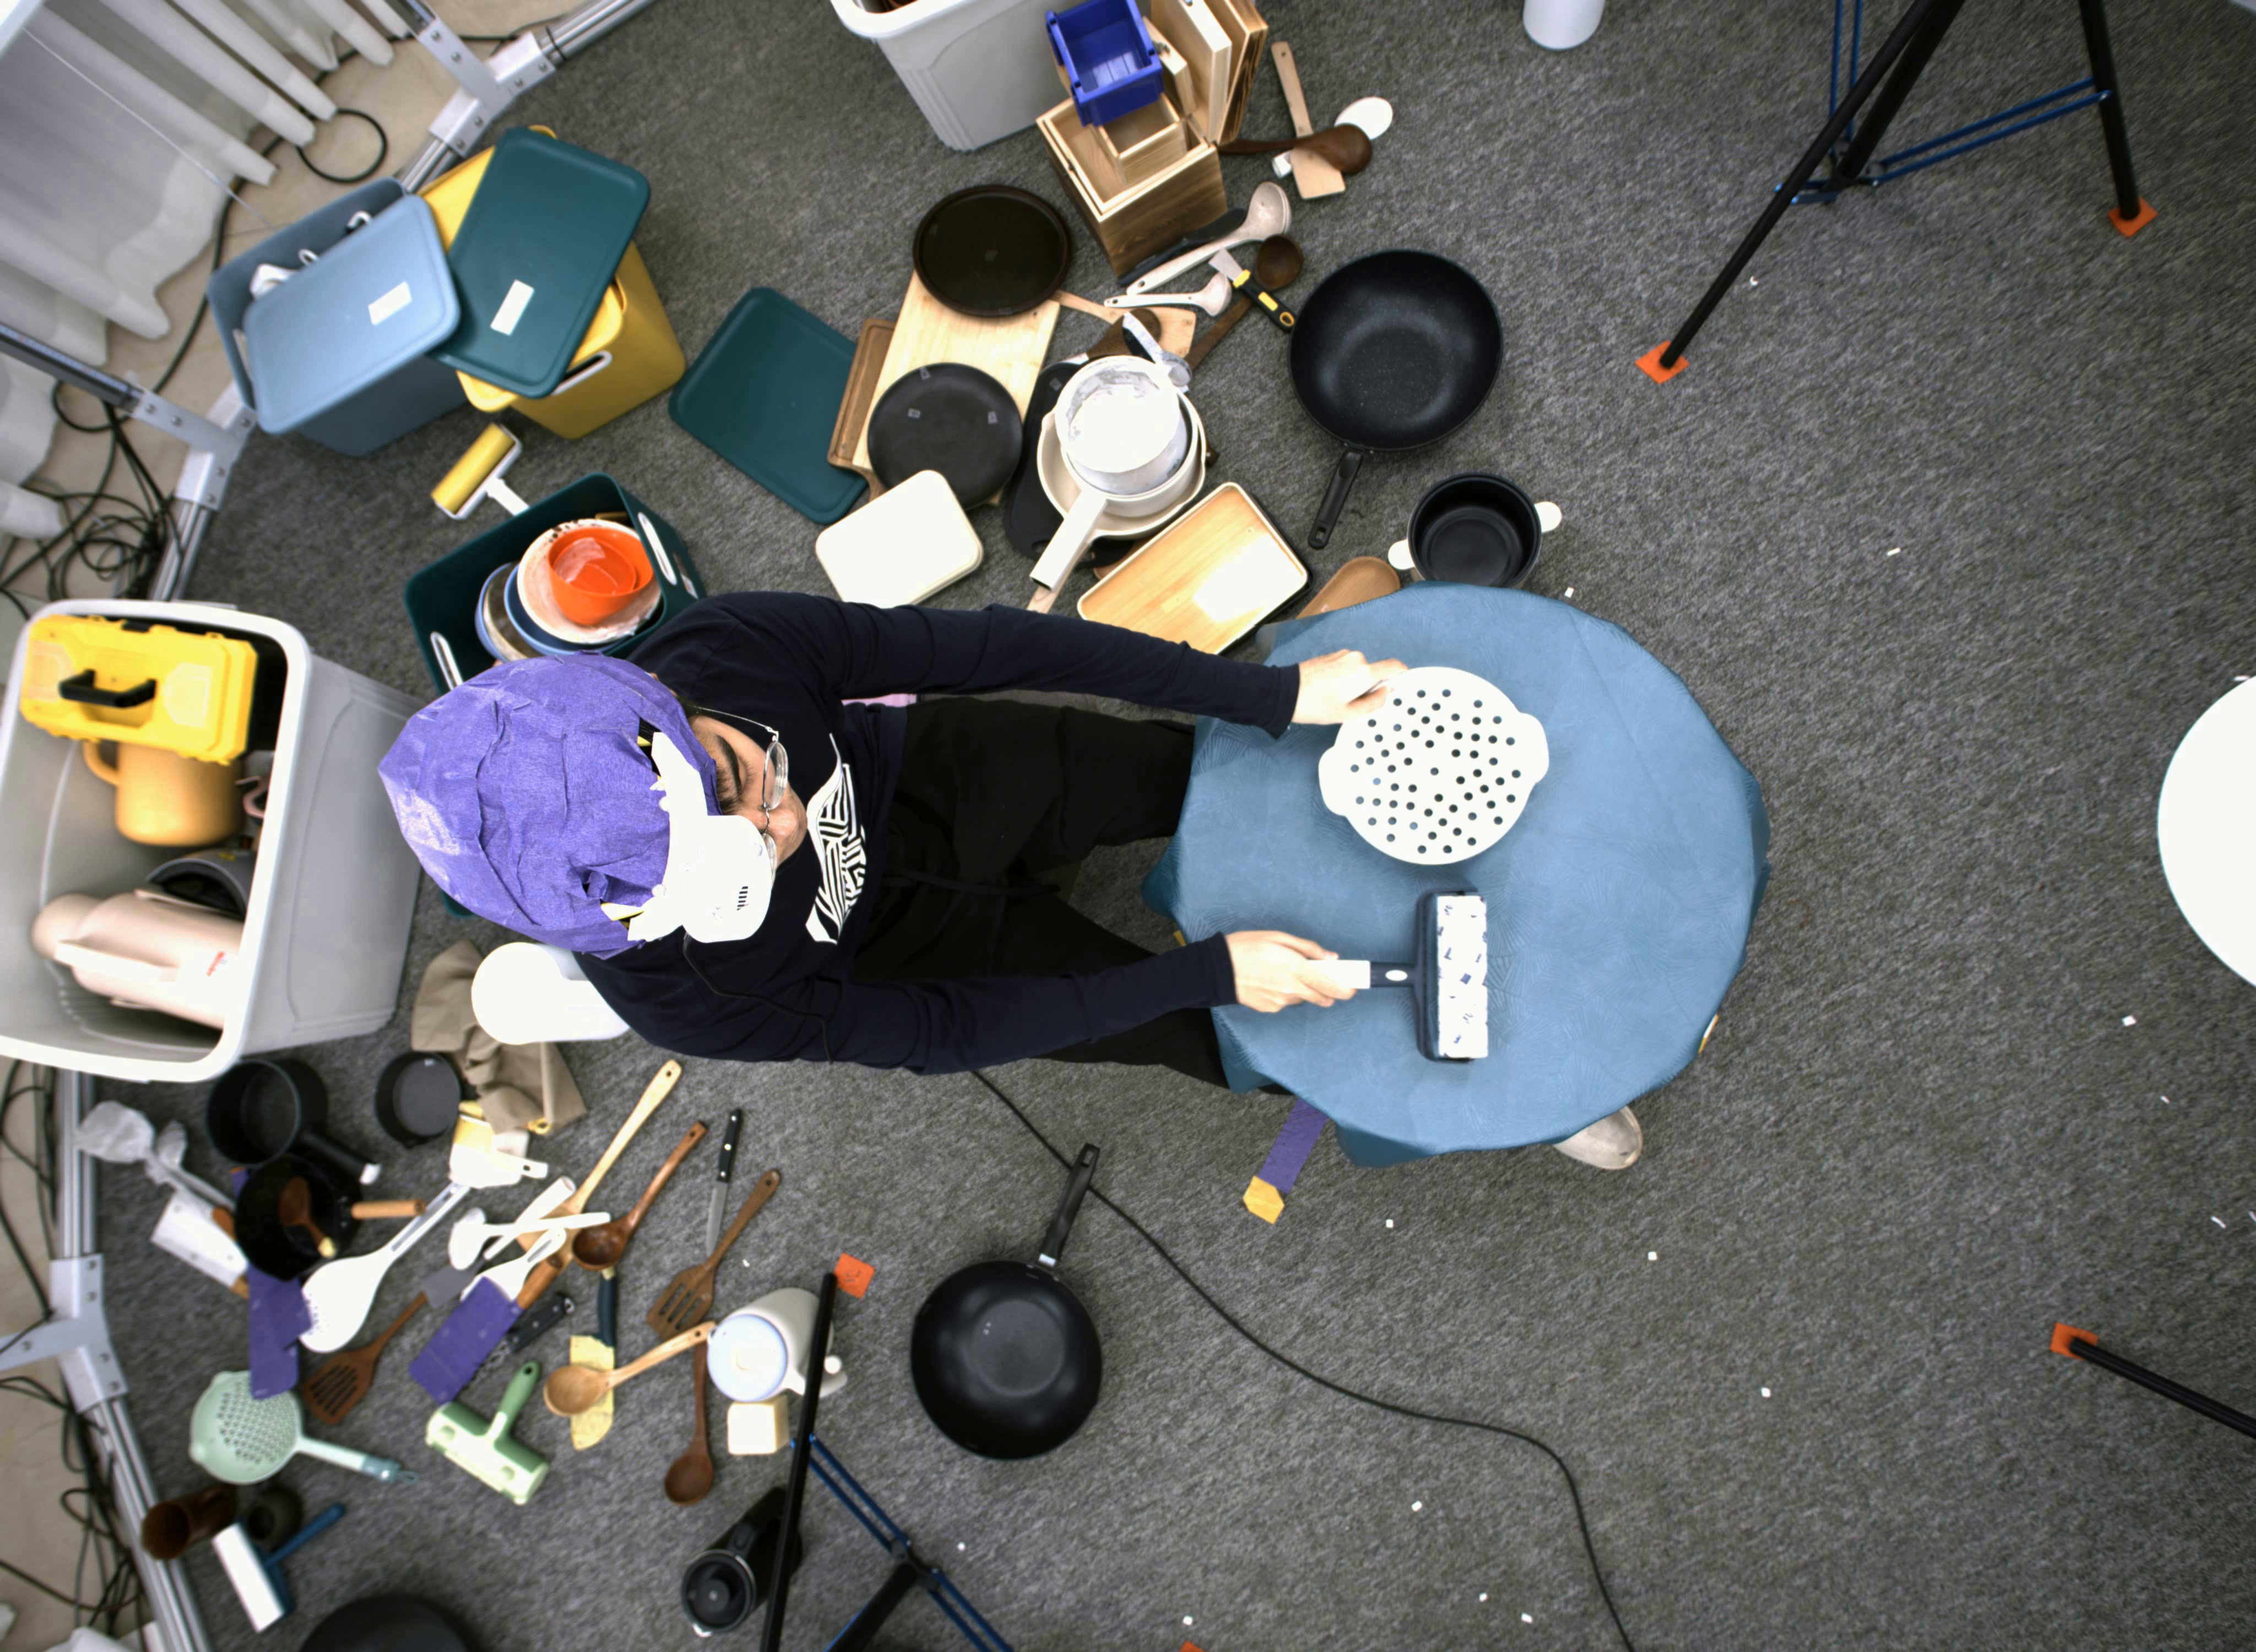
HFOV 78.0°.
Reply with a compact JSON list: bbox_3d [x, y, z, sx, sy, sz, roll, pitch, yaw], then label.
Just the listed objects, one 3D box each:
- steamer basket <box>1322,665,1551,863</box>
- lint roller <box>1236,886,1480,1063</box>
[{"bbox_3d":[0.319,-0.064,1.419,0.232,0.069,0.201,-9,86,20],"label":"steamer basket"},{"bbox_3d":[0.231,0.151,1.407,0.248,0.050,0.176,-2,91,13],"label":"lint roller"}]
